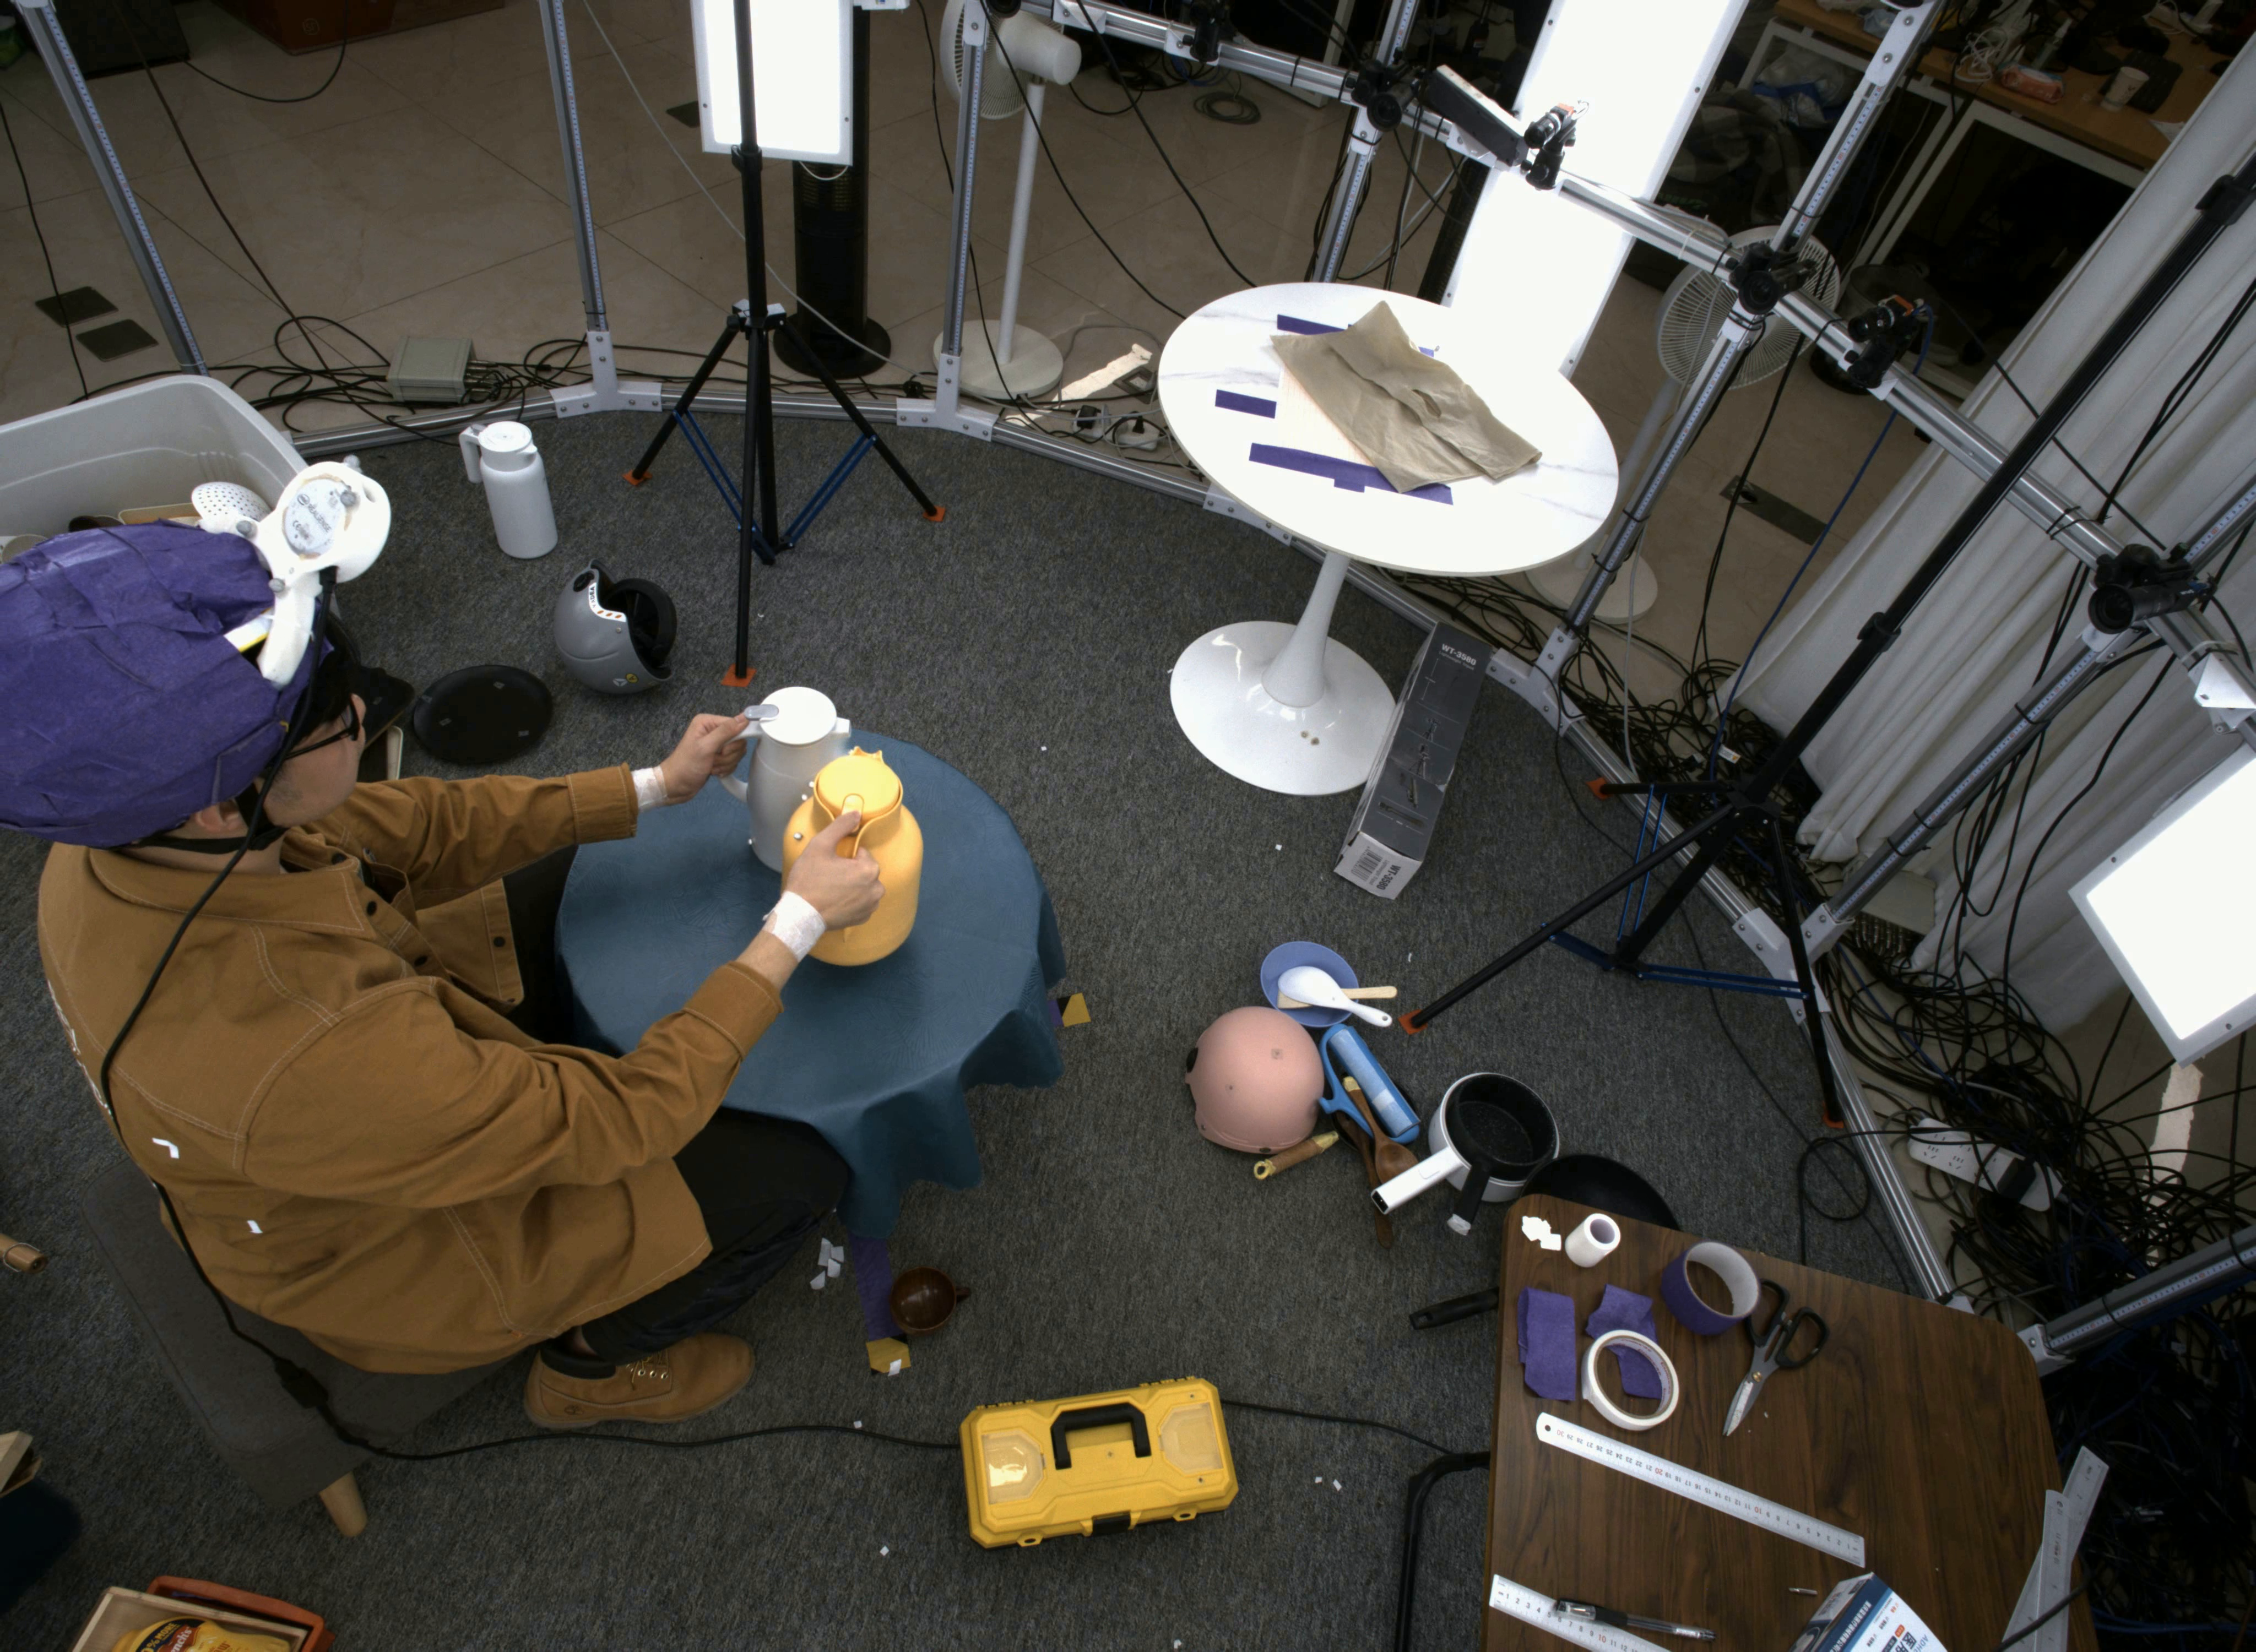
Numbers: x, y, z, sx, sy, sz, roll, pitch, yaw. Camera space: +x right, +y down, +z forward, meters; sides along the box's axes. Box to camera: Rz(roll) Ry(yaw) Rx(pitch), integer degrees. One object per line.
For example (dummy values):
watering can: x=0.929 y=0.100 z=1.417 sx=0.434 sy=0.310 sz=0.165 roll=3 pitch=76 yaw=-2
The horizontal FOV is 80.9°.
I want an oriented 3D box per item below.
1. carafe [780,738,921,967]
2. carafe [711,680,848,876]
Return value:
carafe: x=-0.323 y=0.043 z=1.488 sx=0.163 sy=0.266 sz=0.198 roll=9 pitch=45 yaw=-5
carafe: x=-0.429 y=-0.064 z=1.607 sx=0.167 sy=0.254 sz=0.130 roll=1 pitch=52 yaw=-11
